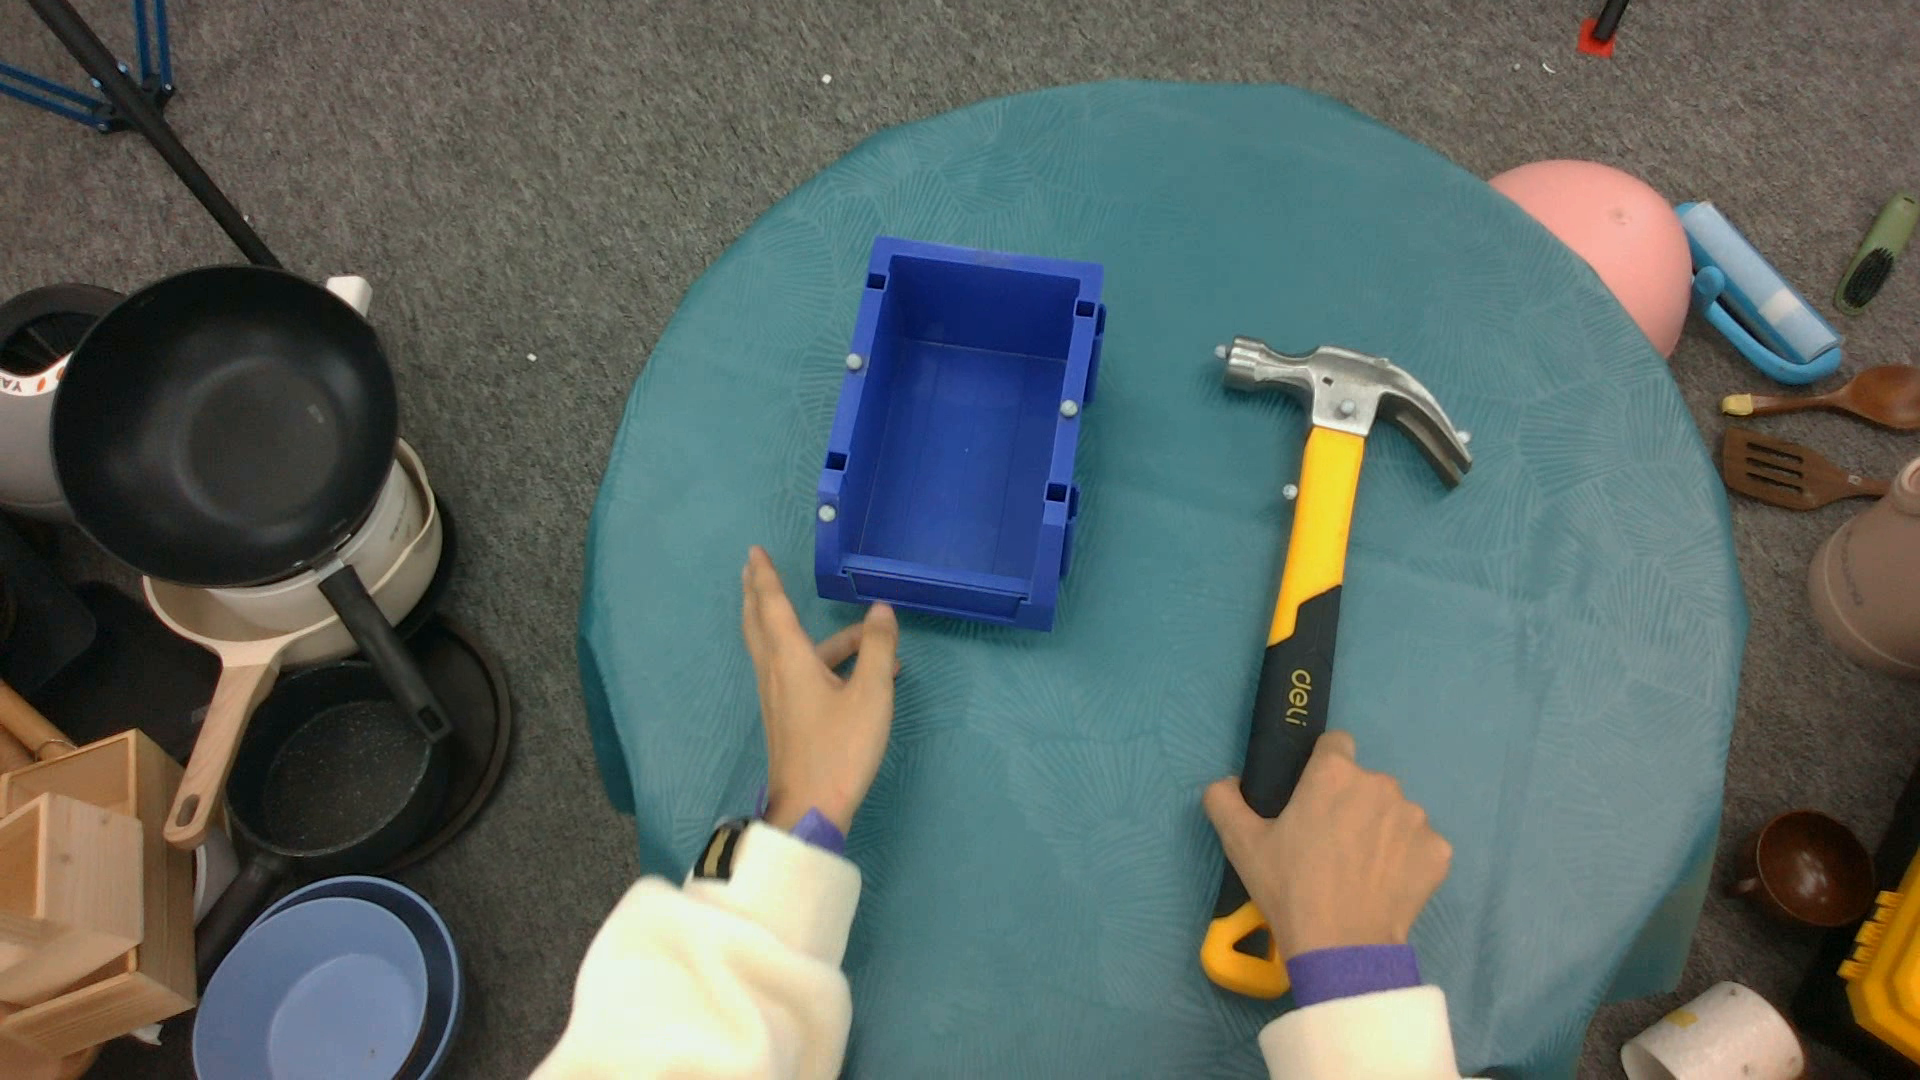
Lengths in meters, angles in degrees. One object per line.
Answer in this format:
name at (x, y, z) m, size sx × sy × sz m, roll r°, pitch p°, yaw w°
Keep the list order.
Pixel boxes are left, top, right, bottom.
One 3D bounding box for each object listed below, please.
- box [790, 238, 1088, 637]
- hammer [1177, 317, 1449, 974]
box at (-0.007, -0.050, 0.700) m, size 0.124 × 0.081 × 0.180 m, roll 9°, pitch 64°, yaw 4°
hammer at (0.160, 0.043, 0.684) m, size 0.131 × 0.032 × 0.340 m, roll 15°, pitch 66°, yaw 5°
